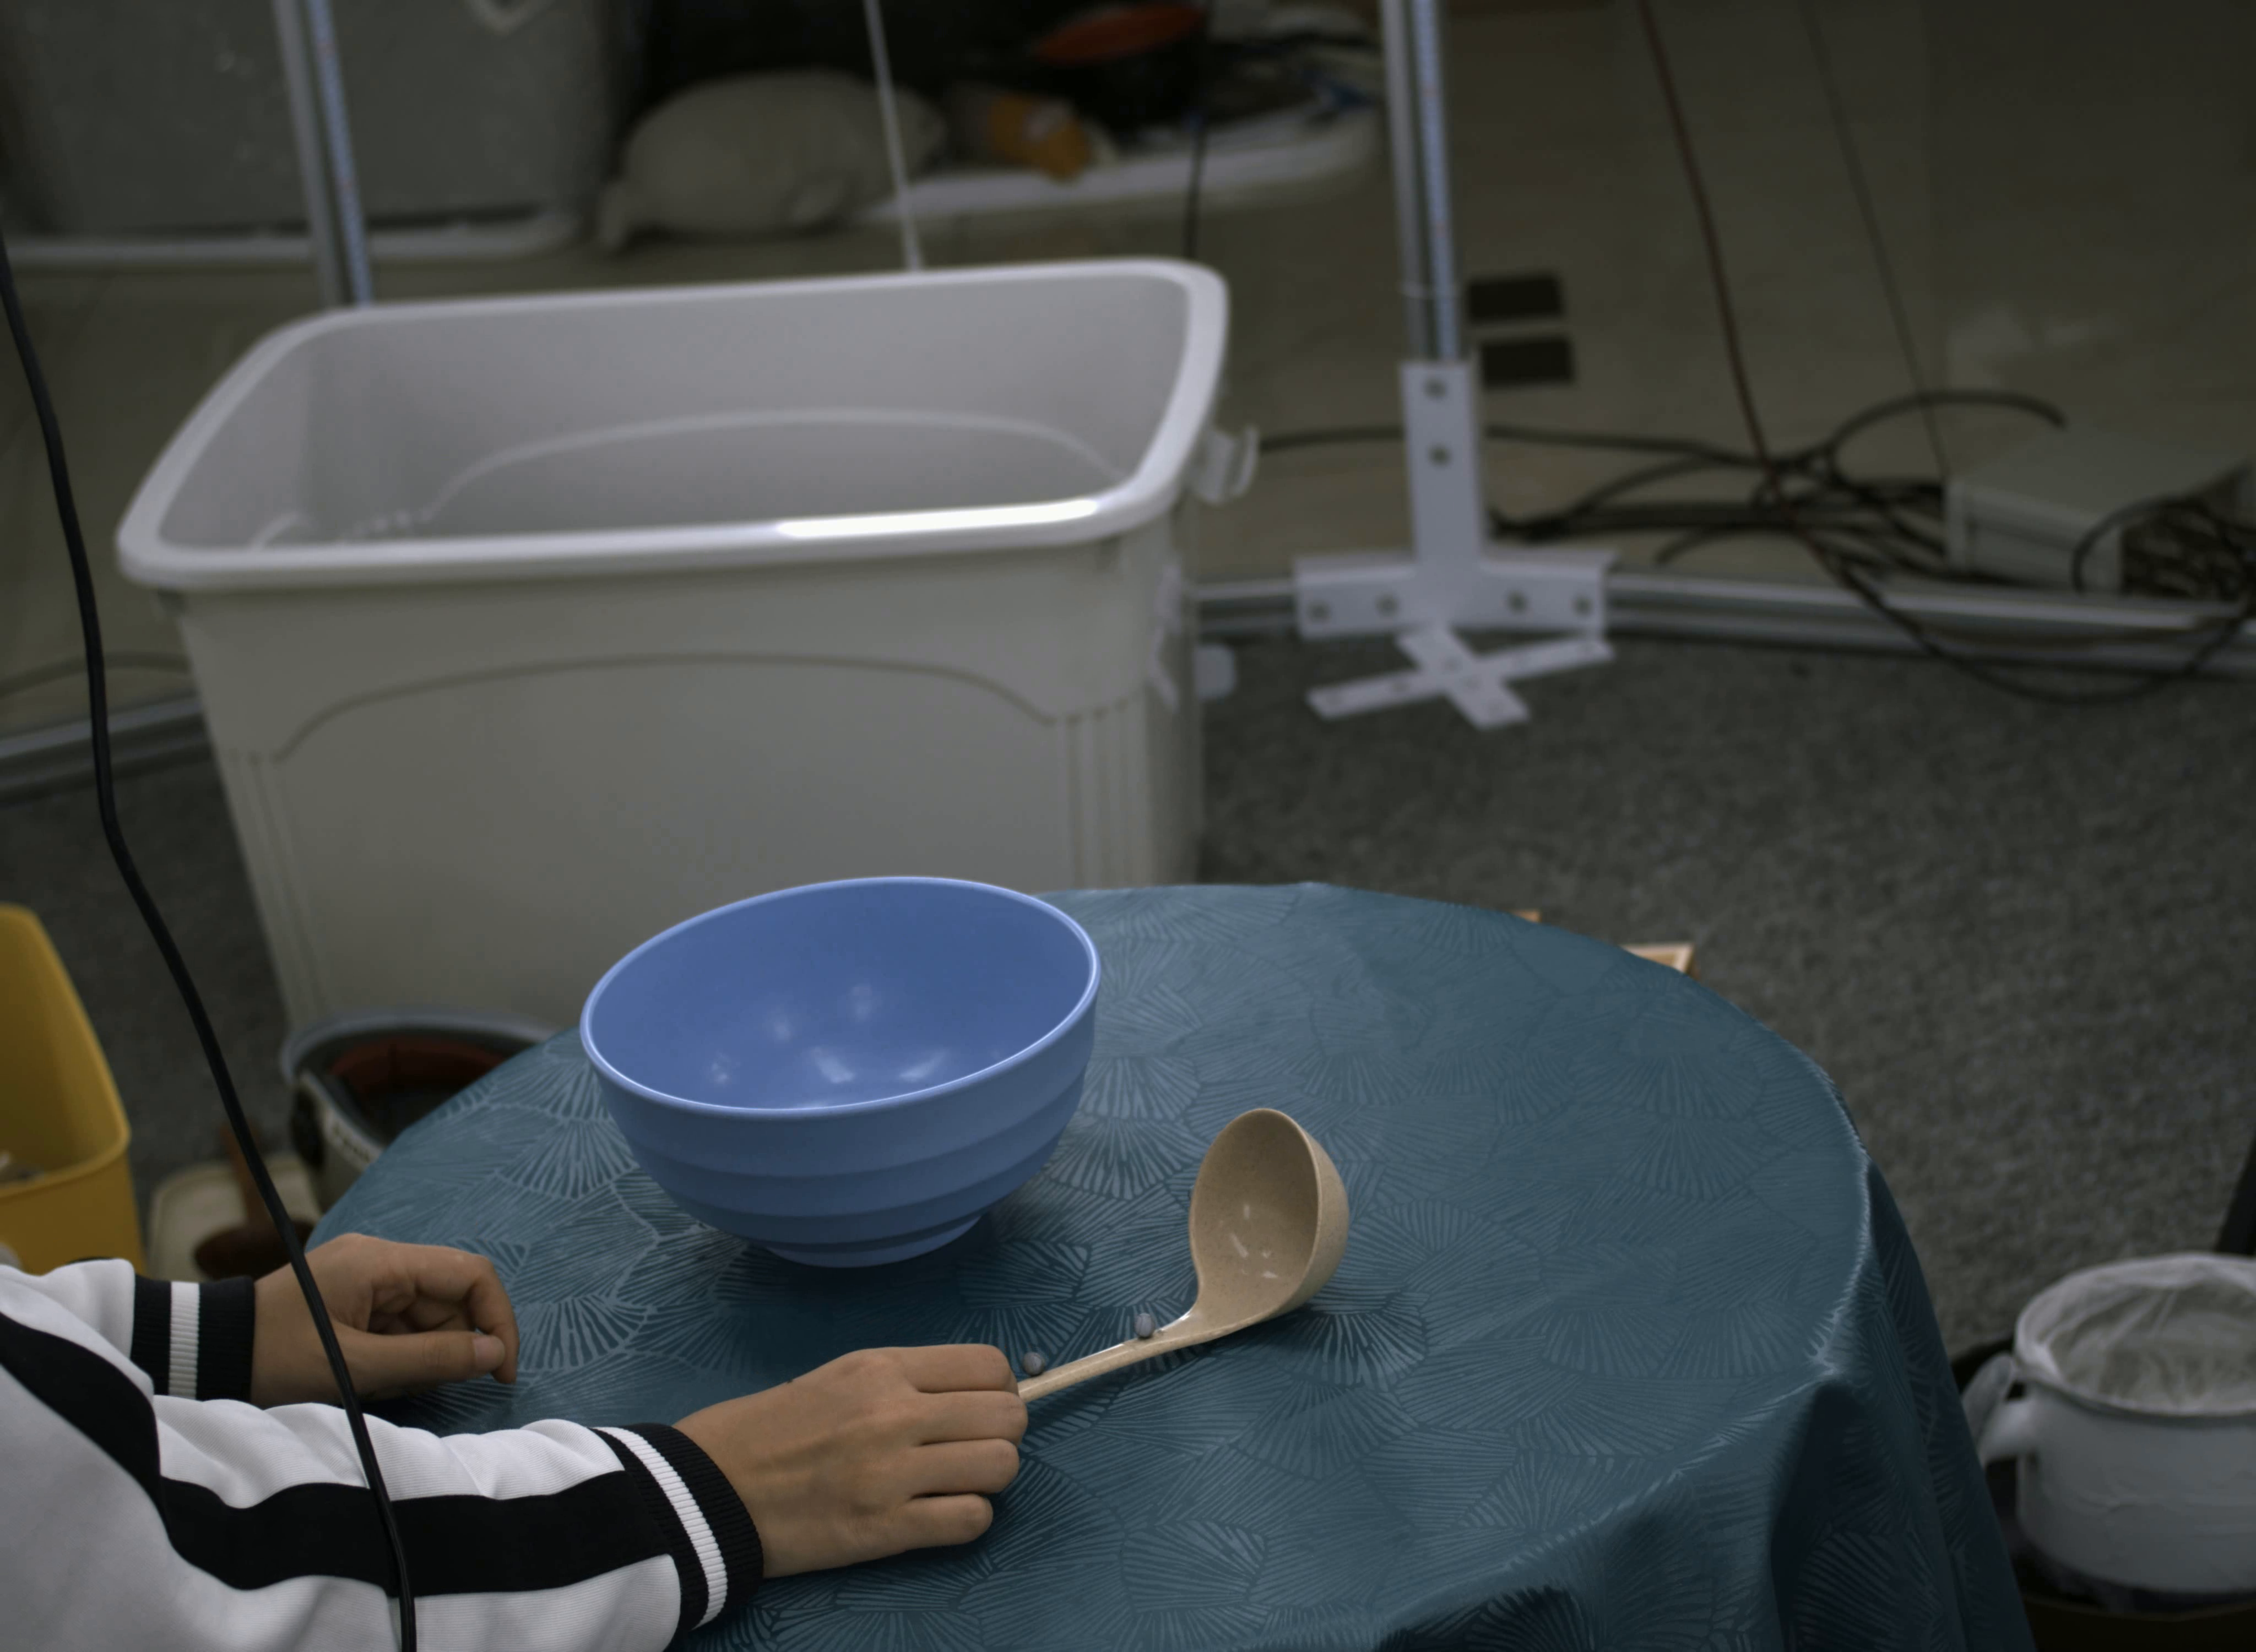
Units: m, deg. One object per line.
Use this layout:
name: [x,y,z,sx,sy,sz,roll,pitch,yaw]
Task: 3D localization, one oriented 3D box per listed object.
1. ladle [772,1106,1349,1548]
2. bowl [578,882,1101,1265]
ladle: [-0.029,0.171,1.992,0.252,0.074,0.071,-23,25,-34]
bowl: [-0.104,0.103,2.136,0.196,0.097,0.194,-4,23,2]
